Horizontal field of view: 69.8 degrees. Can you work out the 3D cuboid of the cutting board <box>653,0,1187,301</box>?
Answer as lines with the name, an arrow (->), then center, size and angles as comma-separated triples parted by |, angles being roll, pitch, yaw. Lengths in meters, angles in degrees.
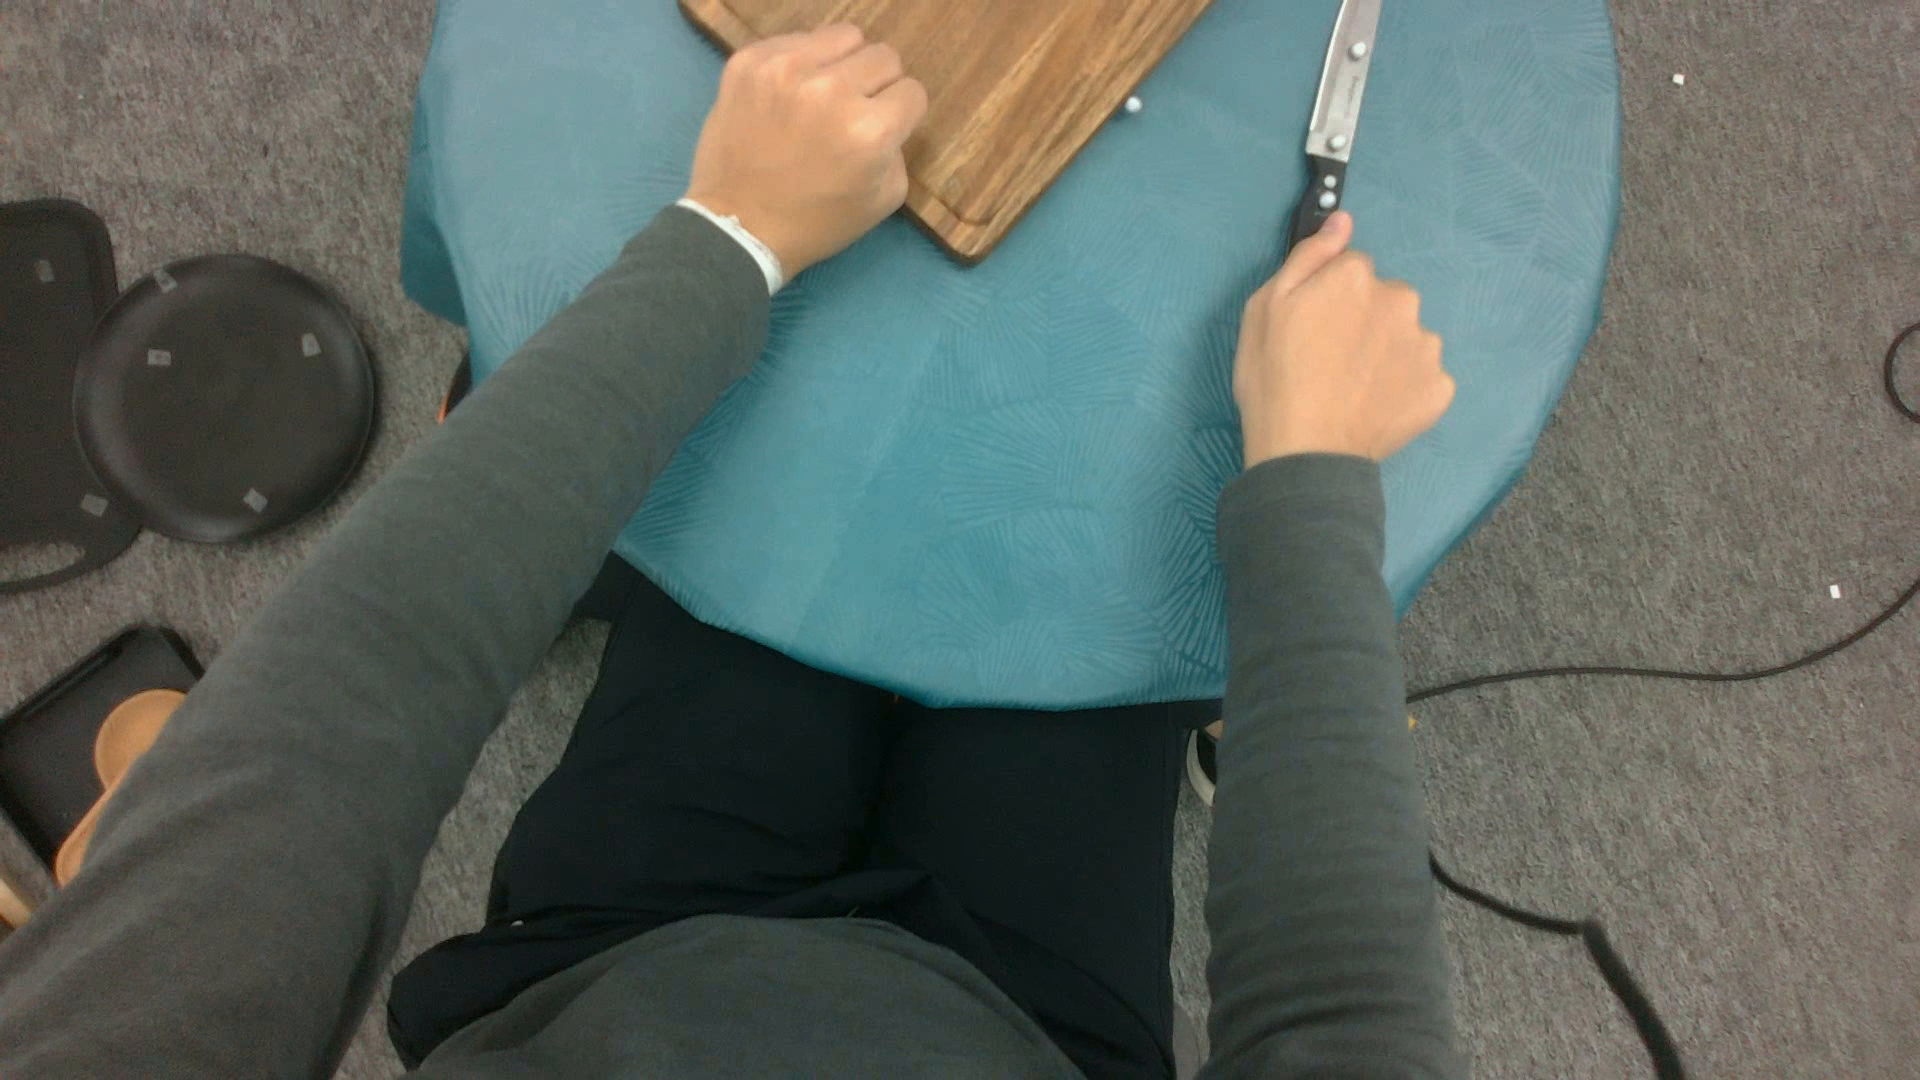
cutting board -> -0.028, -0.256, 0.676 | 0.201, 0.023, 0.352 | 40, 84, -1

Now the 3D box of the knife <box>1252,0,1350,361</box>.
knife -> 0.178, -0.203, 0.697 | 0.024, 0.016, 0.238 | 12, 82, -5
